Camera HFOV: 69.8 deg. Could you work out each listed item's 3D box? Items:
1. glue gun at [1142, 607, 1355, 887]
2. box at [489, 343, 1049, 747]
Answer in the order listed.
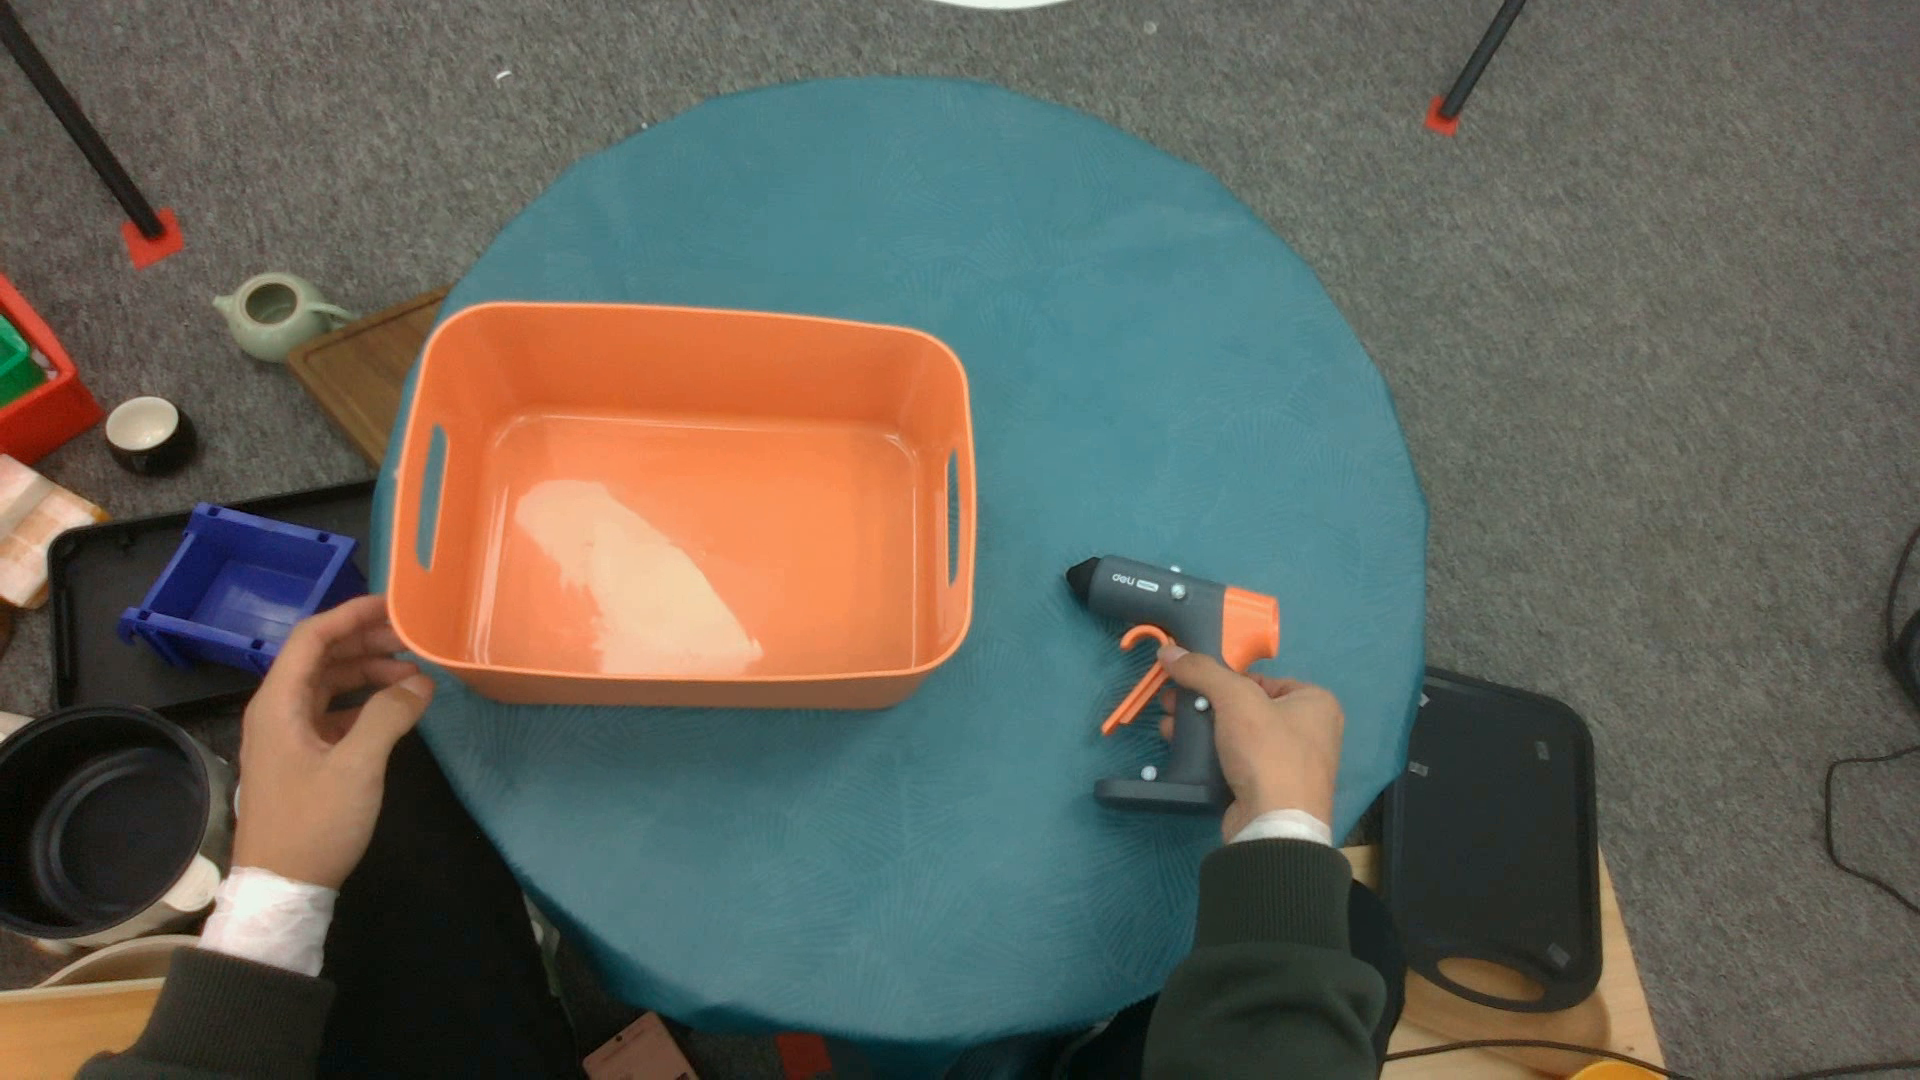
[{"bbox_3d":[0.146,0.108,0.741,0.118,0.041,0.140,9,70,13],"label":"glue gun"},{"bbox_3d":[-0.094,0.011,0.733,0.273,0.102,0.200,4,66,-4],"label":"box"}]
